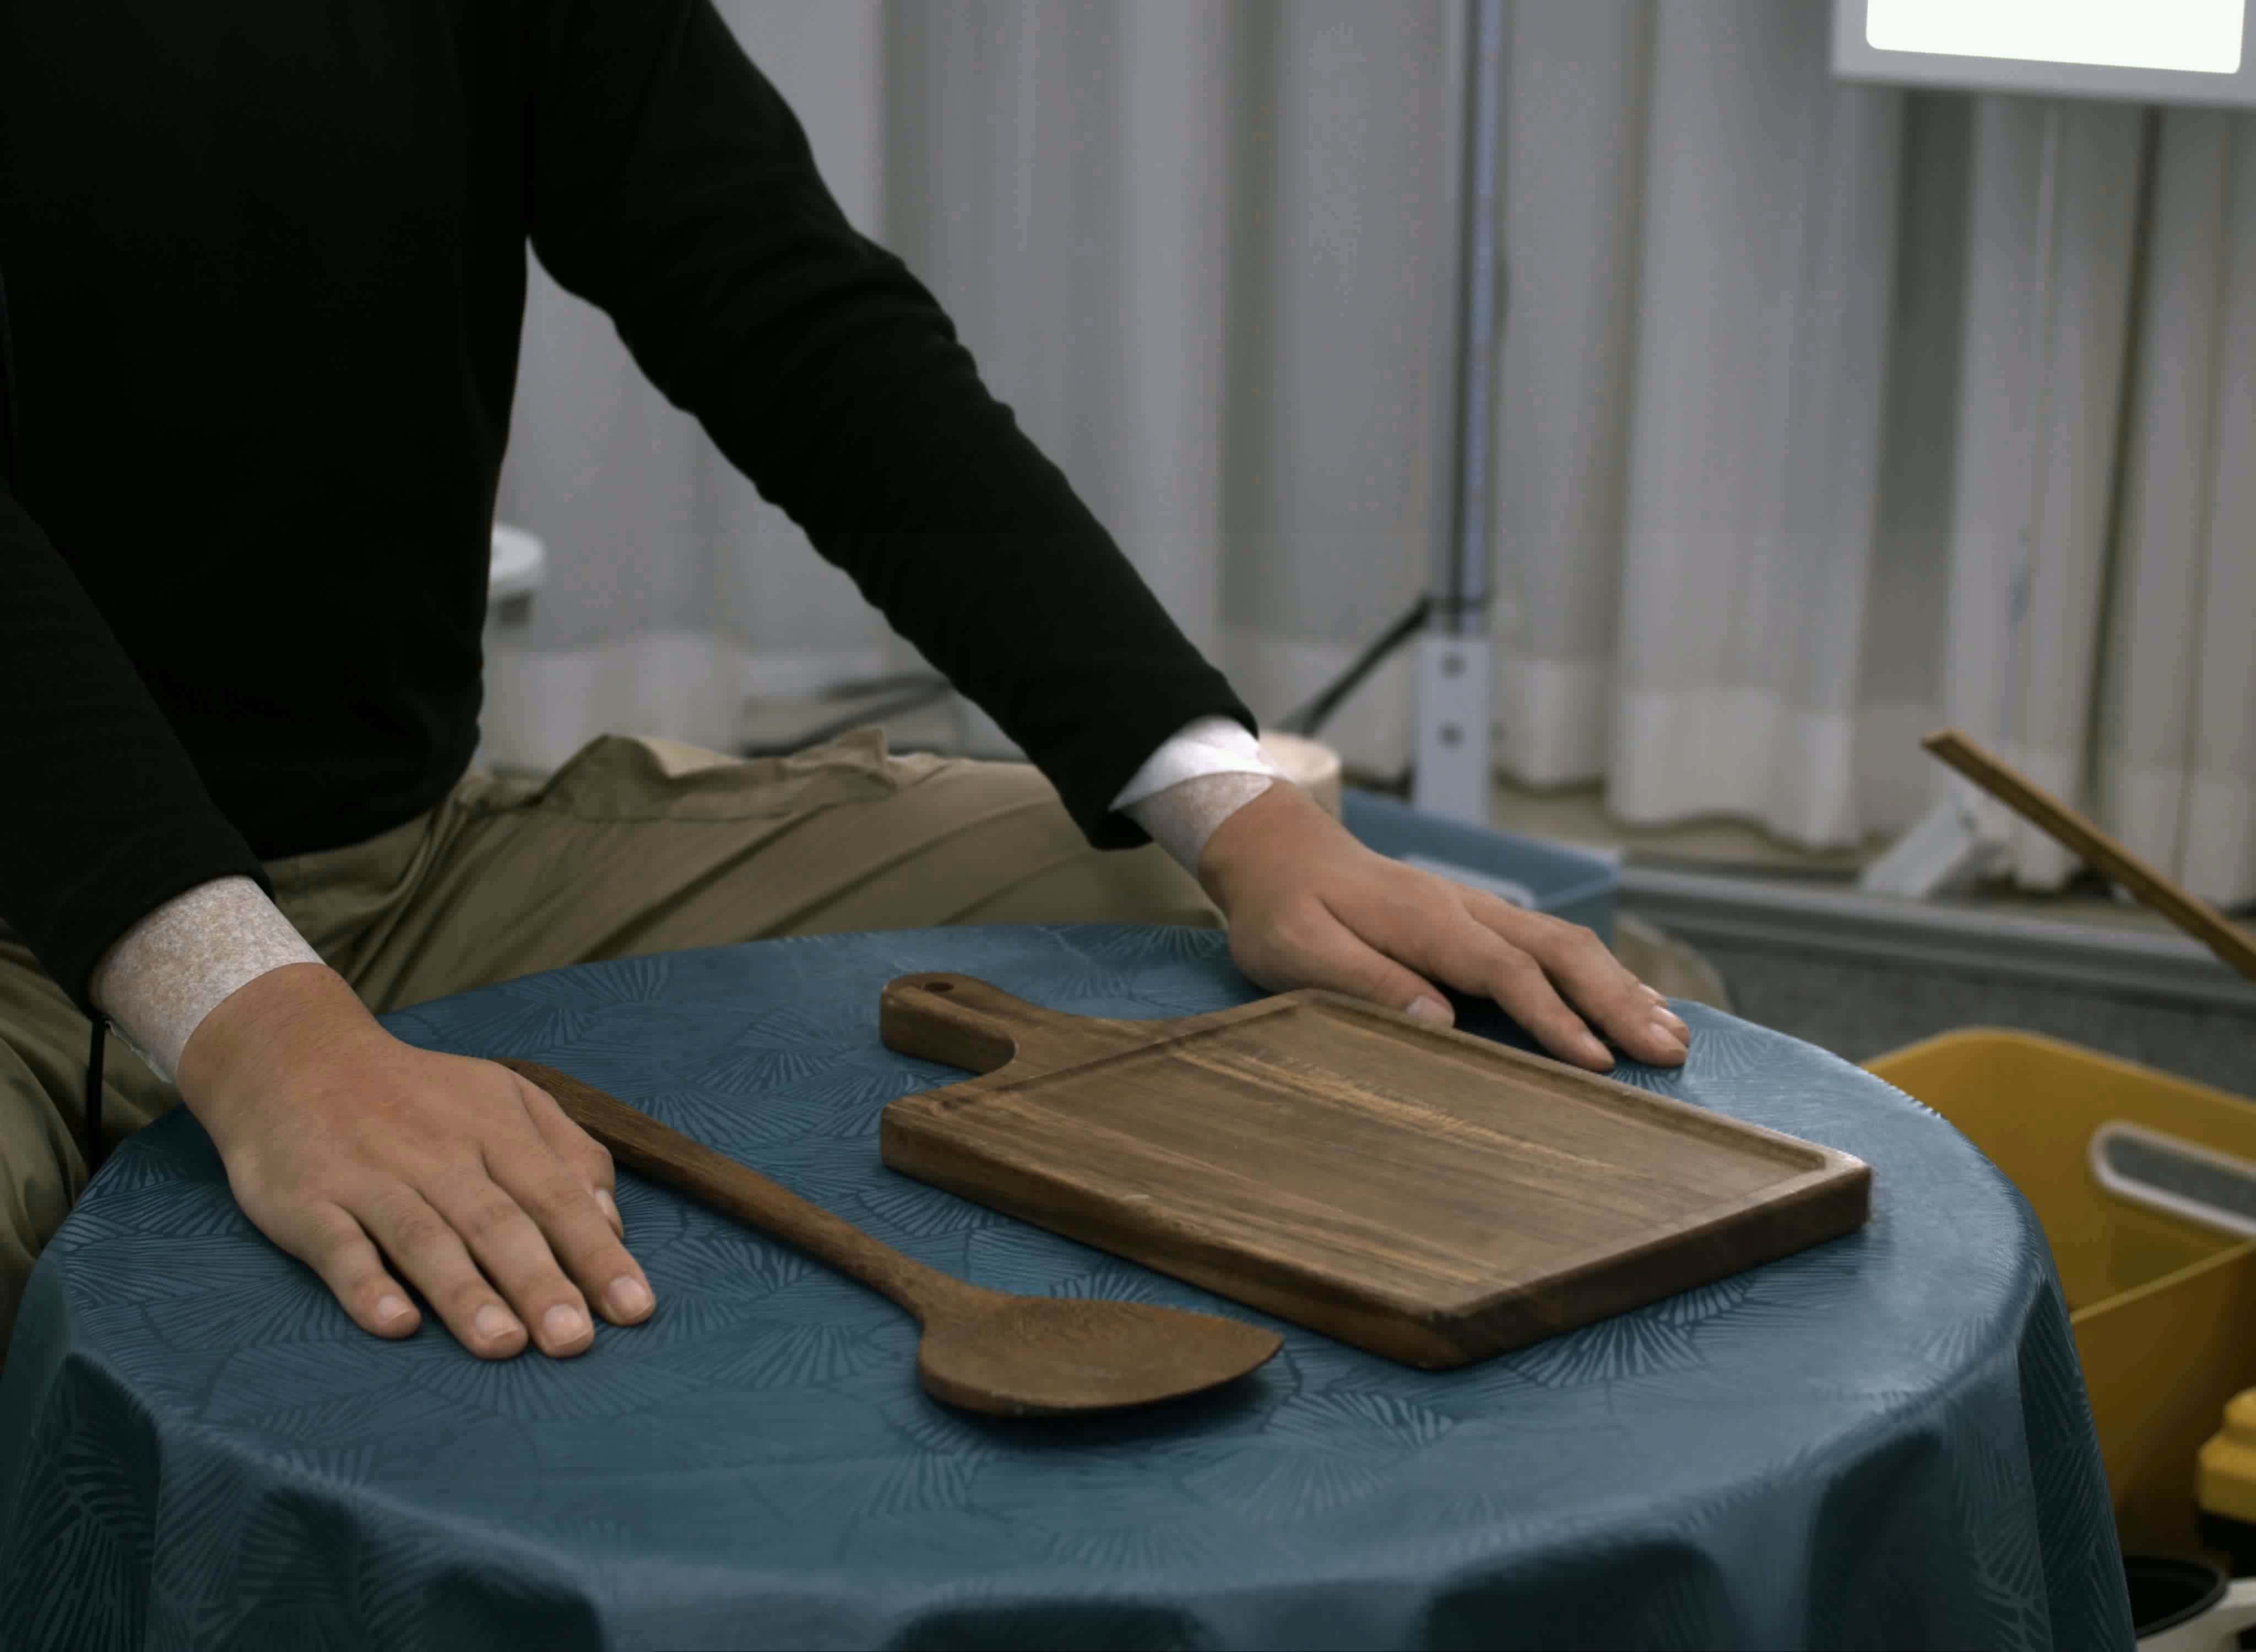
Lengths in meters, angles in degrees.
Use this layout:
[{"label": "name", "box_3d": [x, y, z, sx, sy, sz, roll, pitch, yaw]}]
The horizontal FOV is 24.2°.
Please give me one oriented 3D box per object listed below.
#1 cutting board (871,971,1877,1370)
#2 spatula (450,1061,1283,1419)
[{"label": "cutting board", "box_3d": [0.041, 0.093, 1.652, 0.202, 0.023, 0.347, -13, 21, -42]}, {"label": "spatula", "box_3d": [-0.100, 0.118, 1.572, 0.096, 0.016, 0.381, -10, 19, -36]}]
